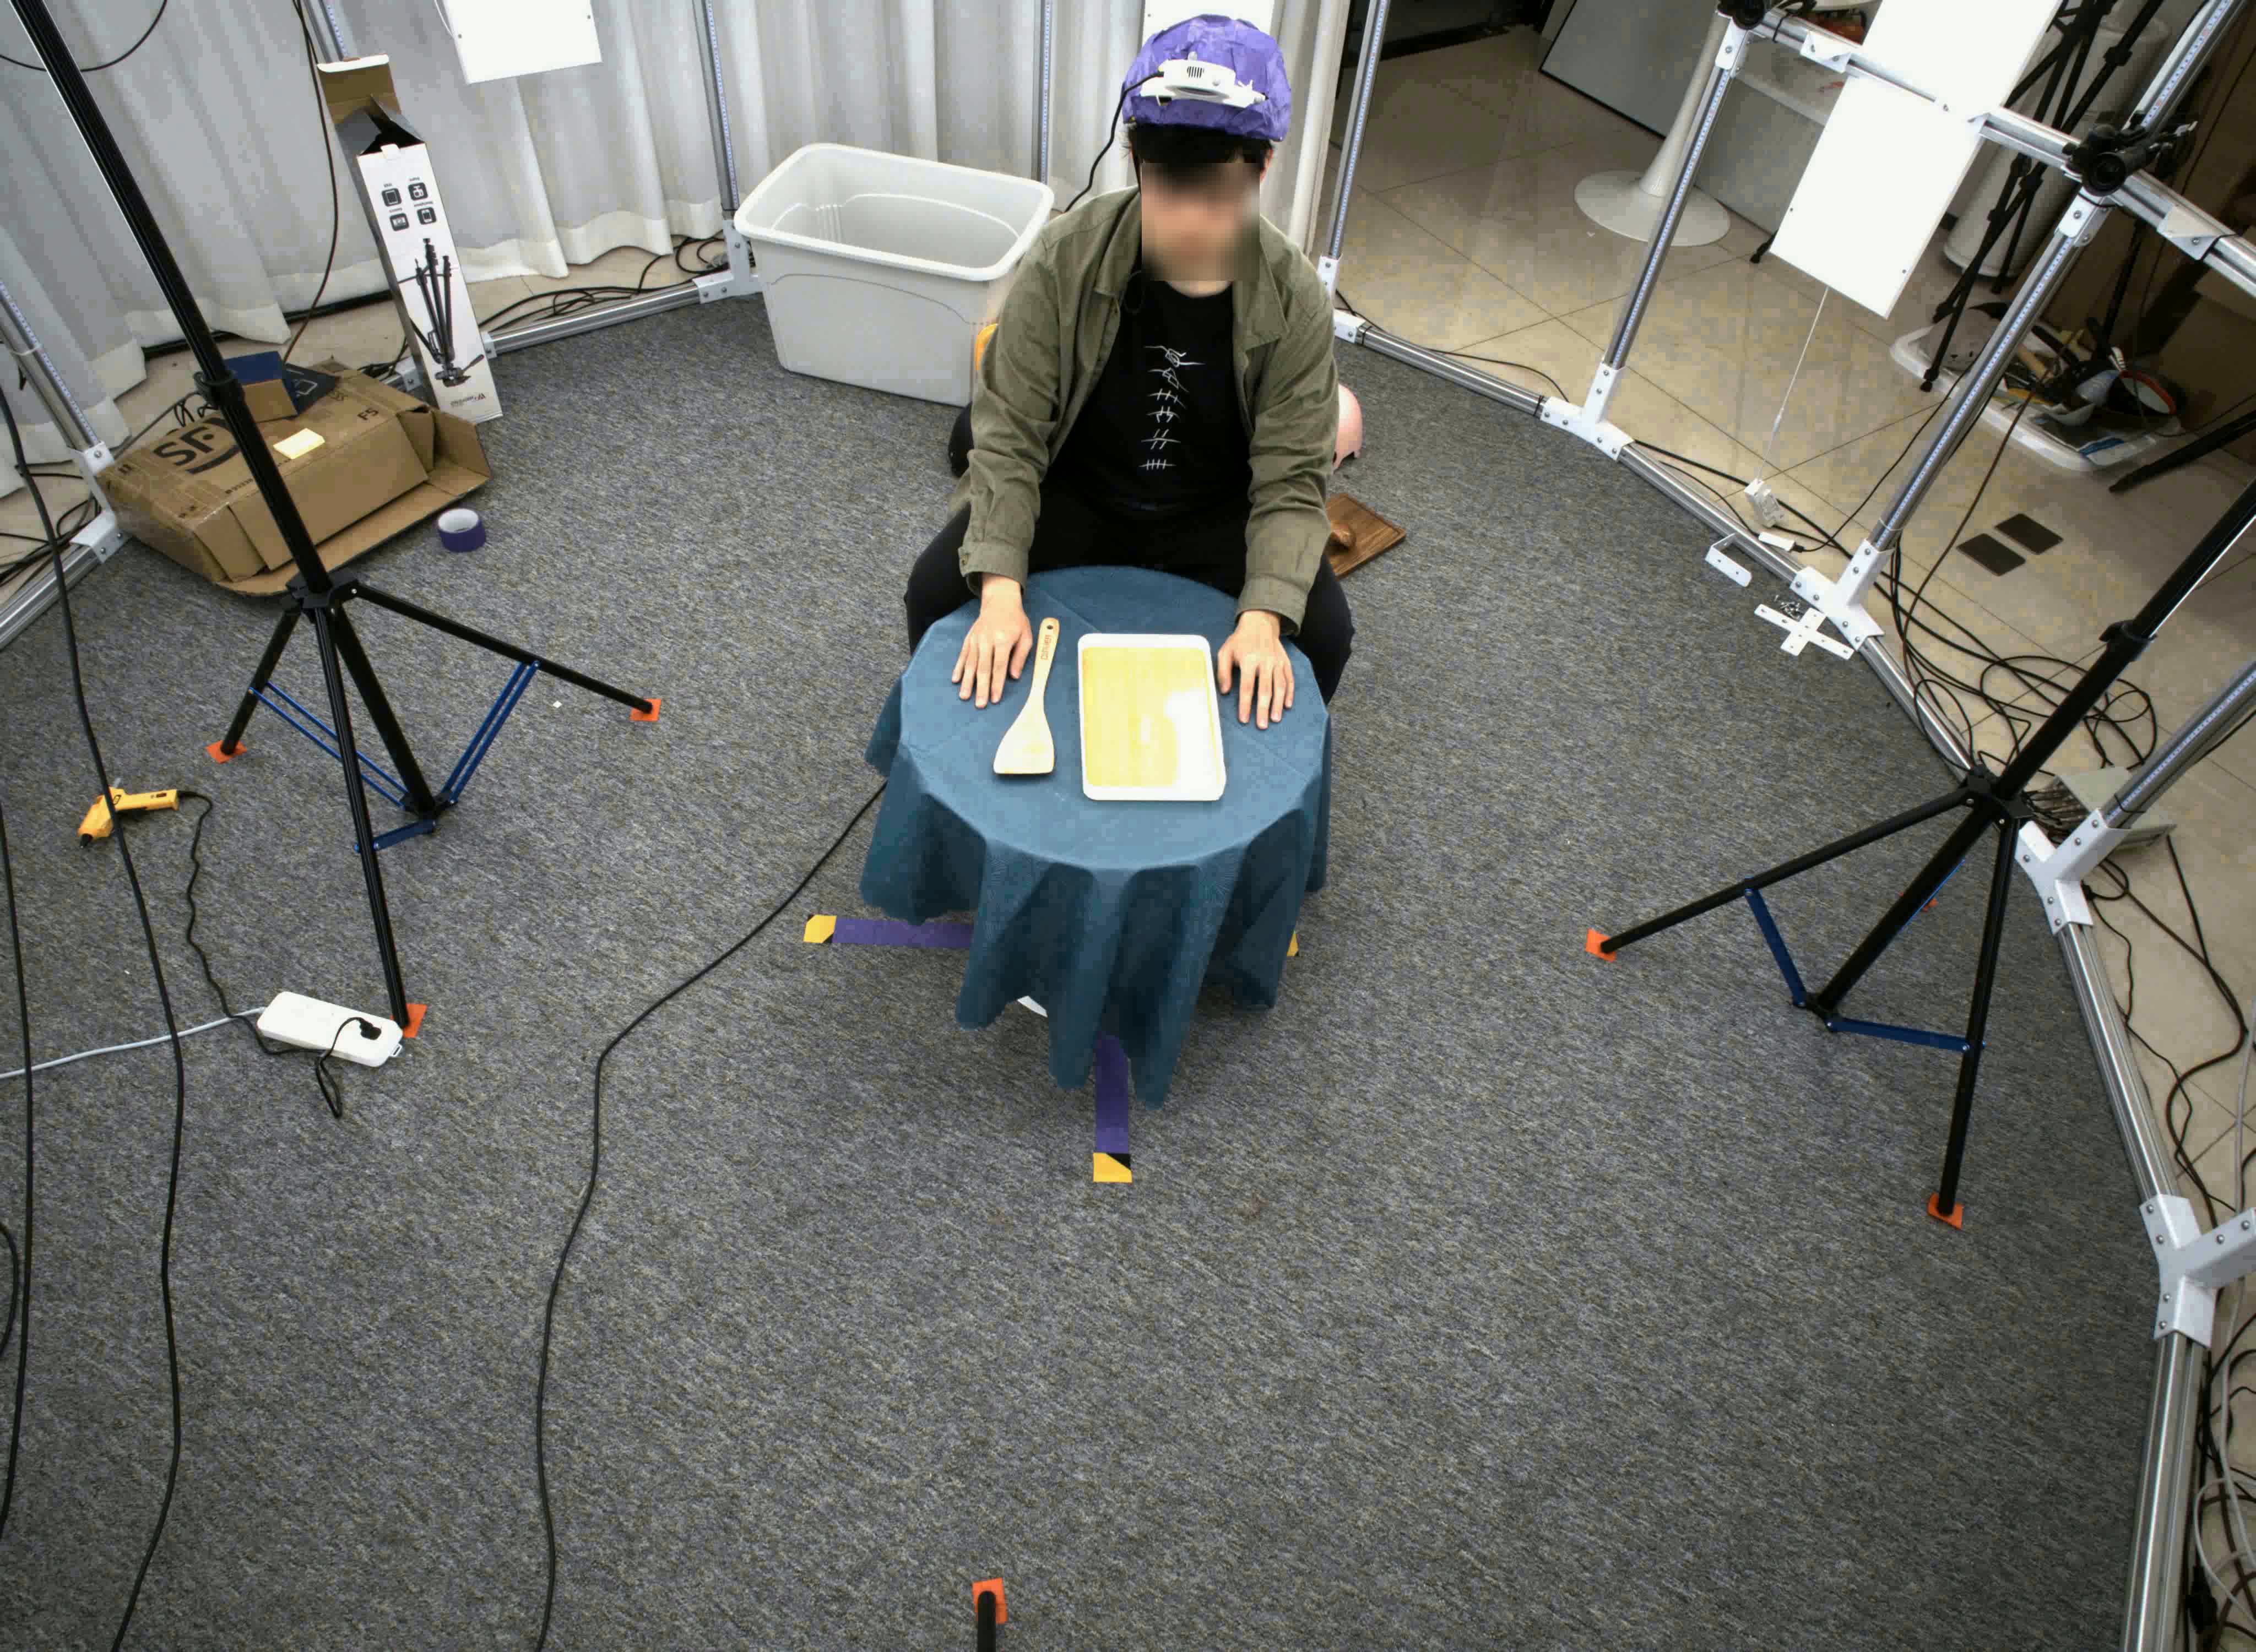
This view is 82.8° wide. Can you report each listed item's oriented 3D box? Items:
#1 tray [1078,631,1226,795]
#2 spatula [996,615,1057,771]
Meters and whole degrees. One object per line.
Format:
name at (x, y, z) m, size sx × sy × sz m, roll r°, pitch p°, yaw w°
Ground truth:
tray at (0.028, -0.162, 1.783) m, size 0.191 × 0.027 × 0.308 m, roll 1°, pitch 47°, yaw -5°
spatula at (-0.127, -0.191, 1.804) m, size 0.080 × 0.016 × 0.335 m, roll 6°, pitch 49°, yaw -1°
